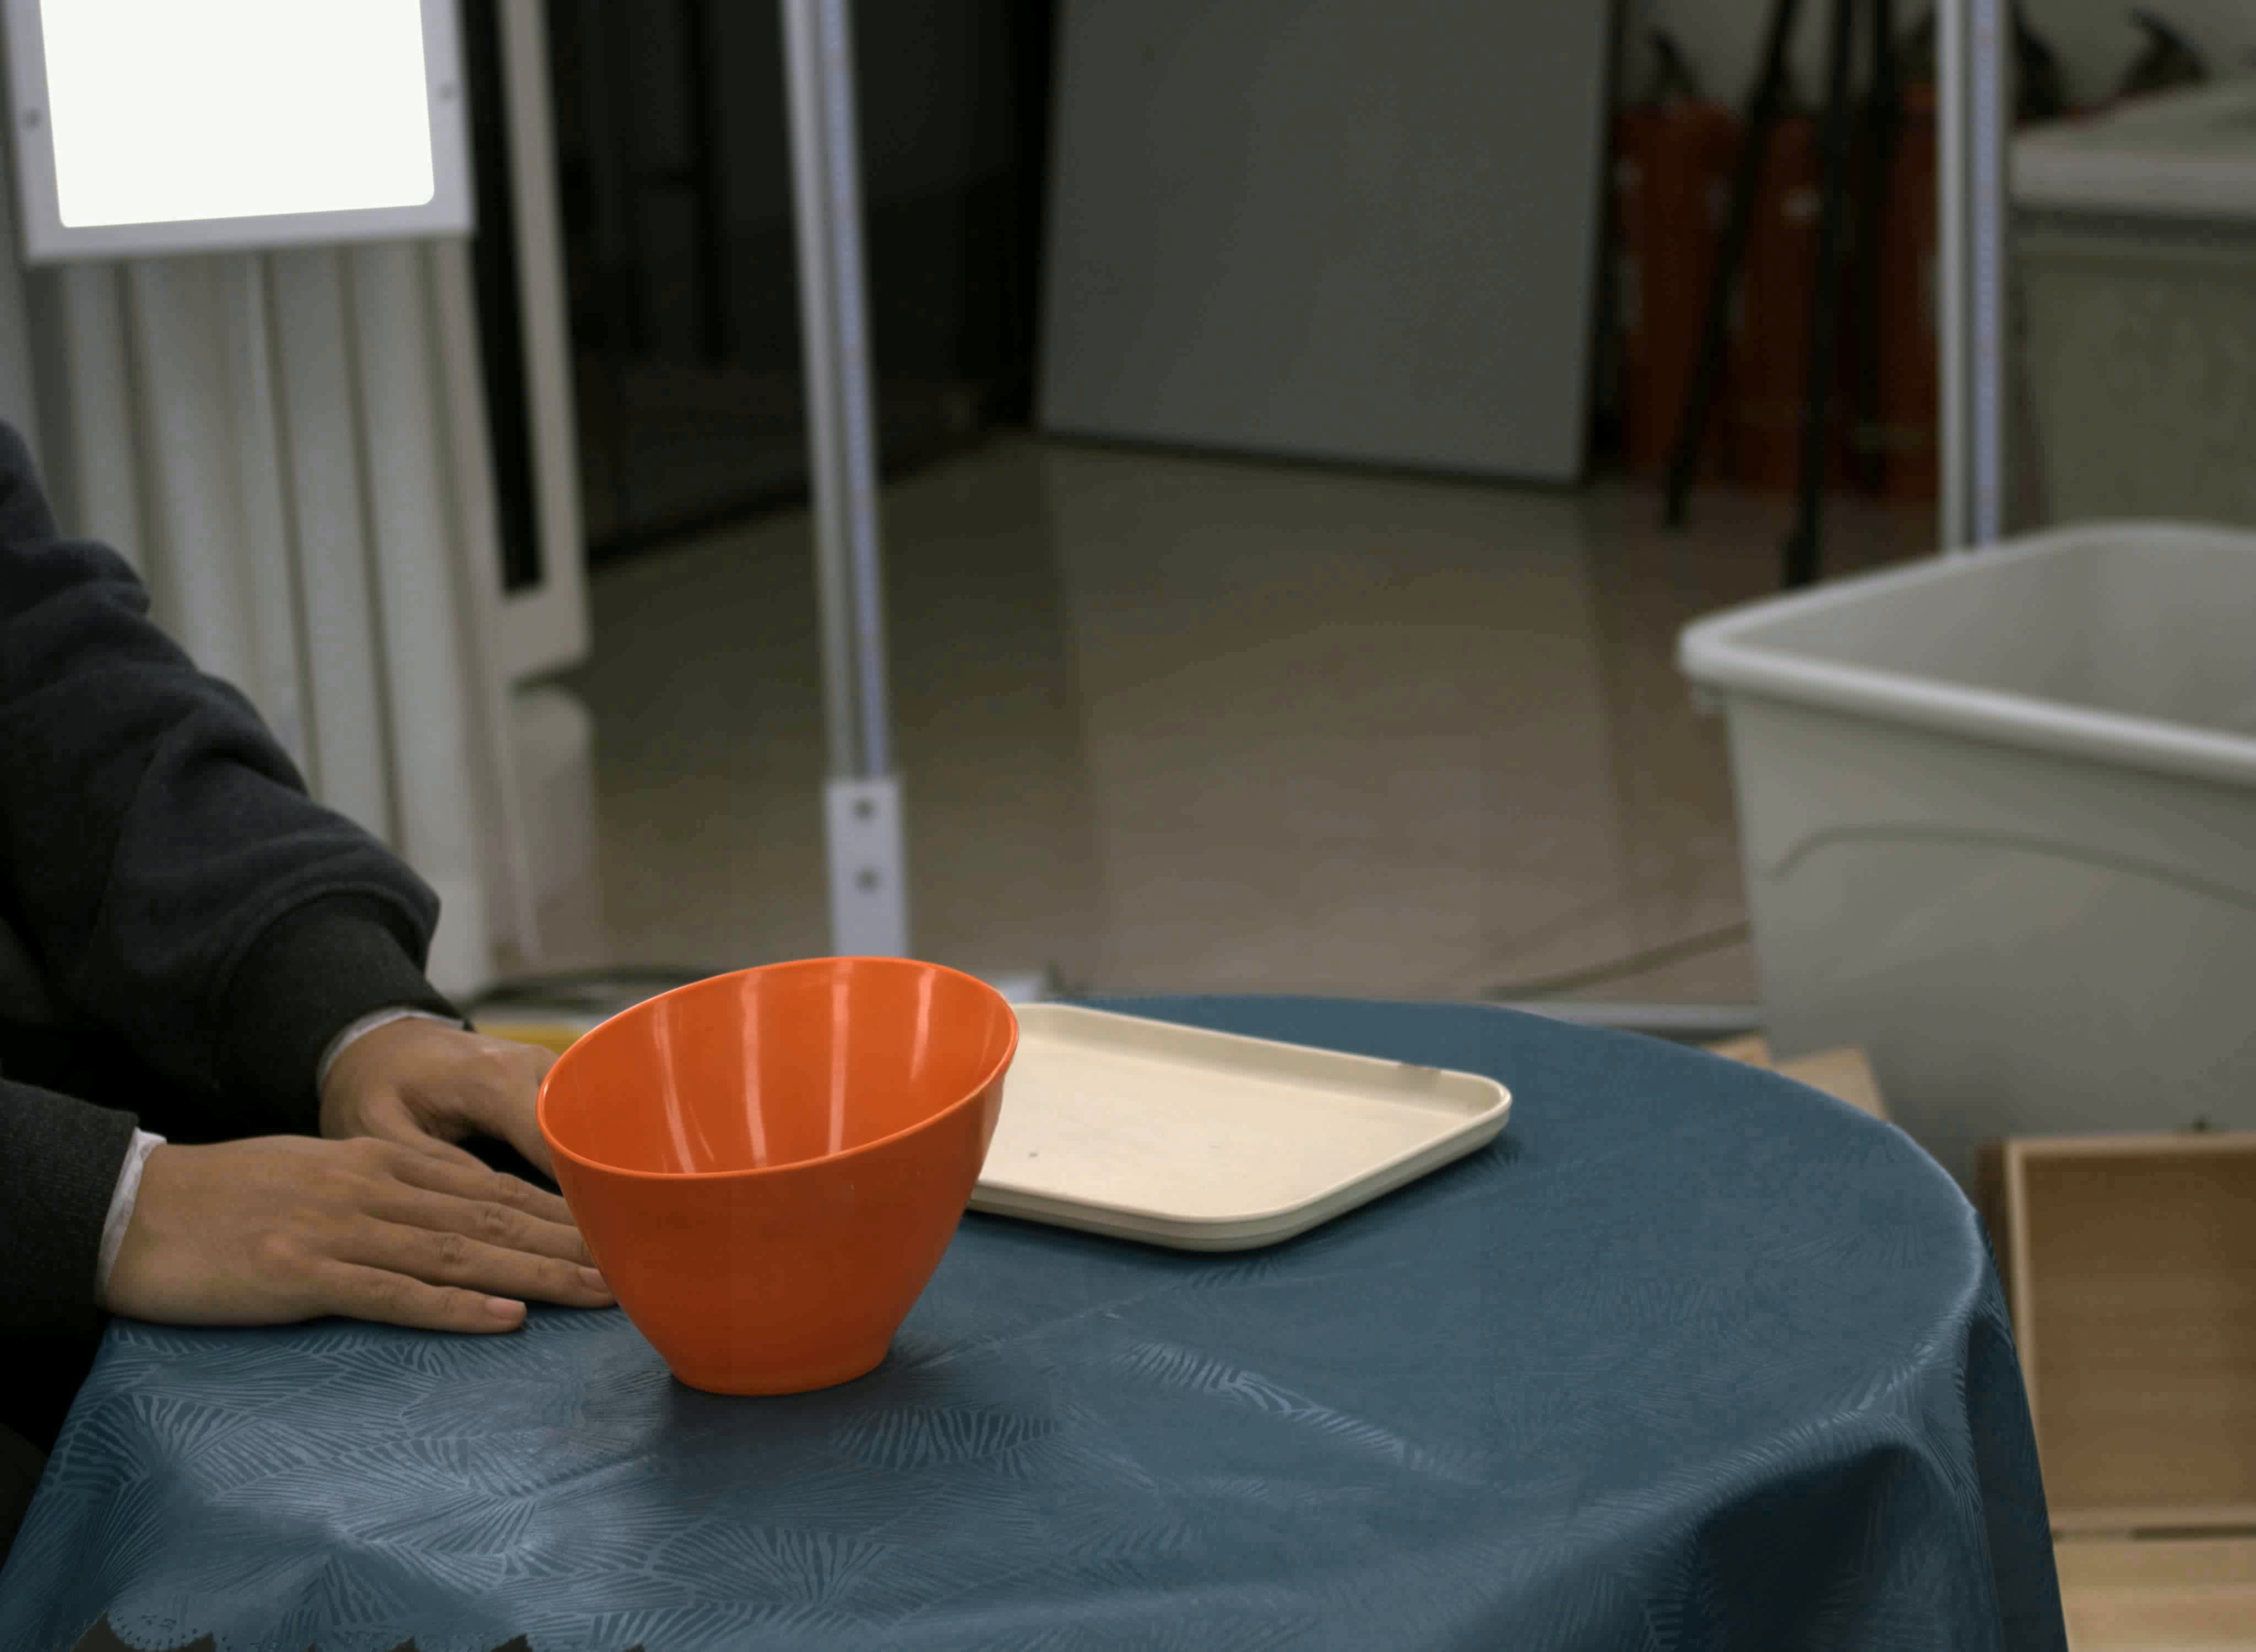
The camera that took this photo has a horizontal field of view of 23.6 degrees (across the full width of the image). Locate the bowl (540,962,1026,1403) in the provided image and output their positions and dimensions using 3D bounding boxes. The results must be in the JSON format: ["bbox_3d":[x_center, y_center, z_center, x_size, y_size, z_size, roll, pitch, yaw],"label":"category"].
[{"bbox_3d":[-0.102,0.111,1.628,0.146,0.106,0.148,-2,13,0],"label":"bowl"}]

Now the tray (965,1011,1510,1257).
[{"bbox_3d":[-0.003,0.102,1.811,0.241,0.017,0.168,7,18,39],"label":"tray"}]
